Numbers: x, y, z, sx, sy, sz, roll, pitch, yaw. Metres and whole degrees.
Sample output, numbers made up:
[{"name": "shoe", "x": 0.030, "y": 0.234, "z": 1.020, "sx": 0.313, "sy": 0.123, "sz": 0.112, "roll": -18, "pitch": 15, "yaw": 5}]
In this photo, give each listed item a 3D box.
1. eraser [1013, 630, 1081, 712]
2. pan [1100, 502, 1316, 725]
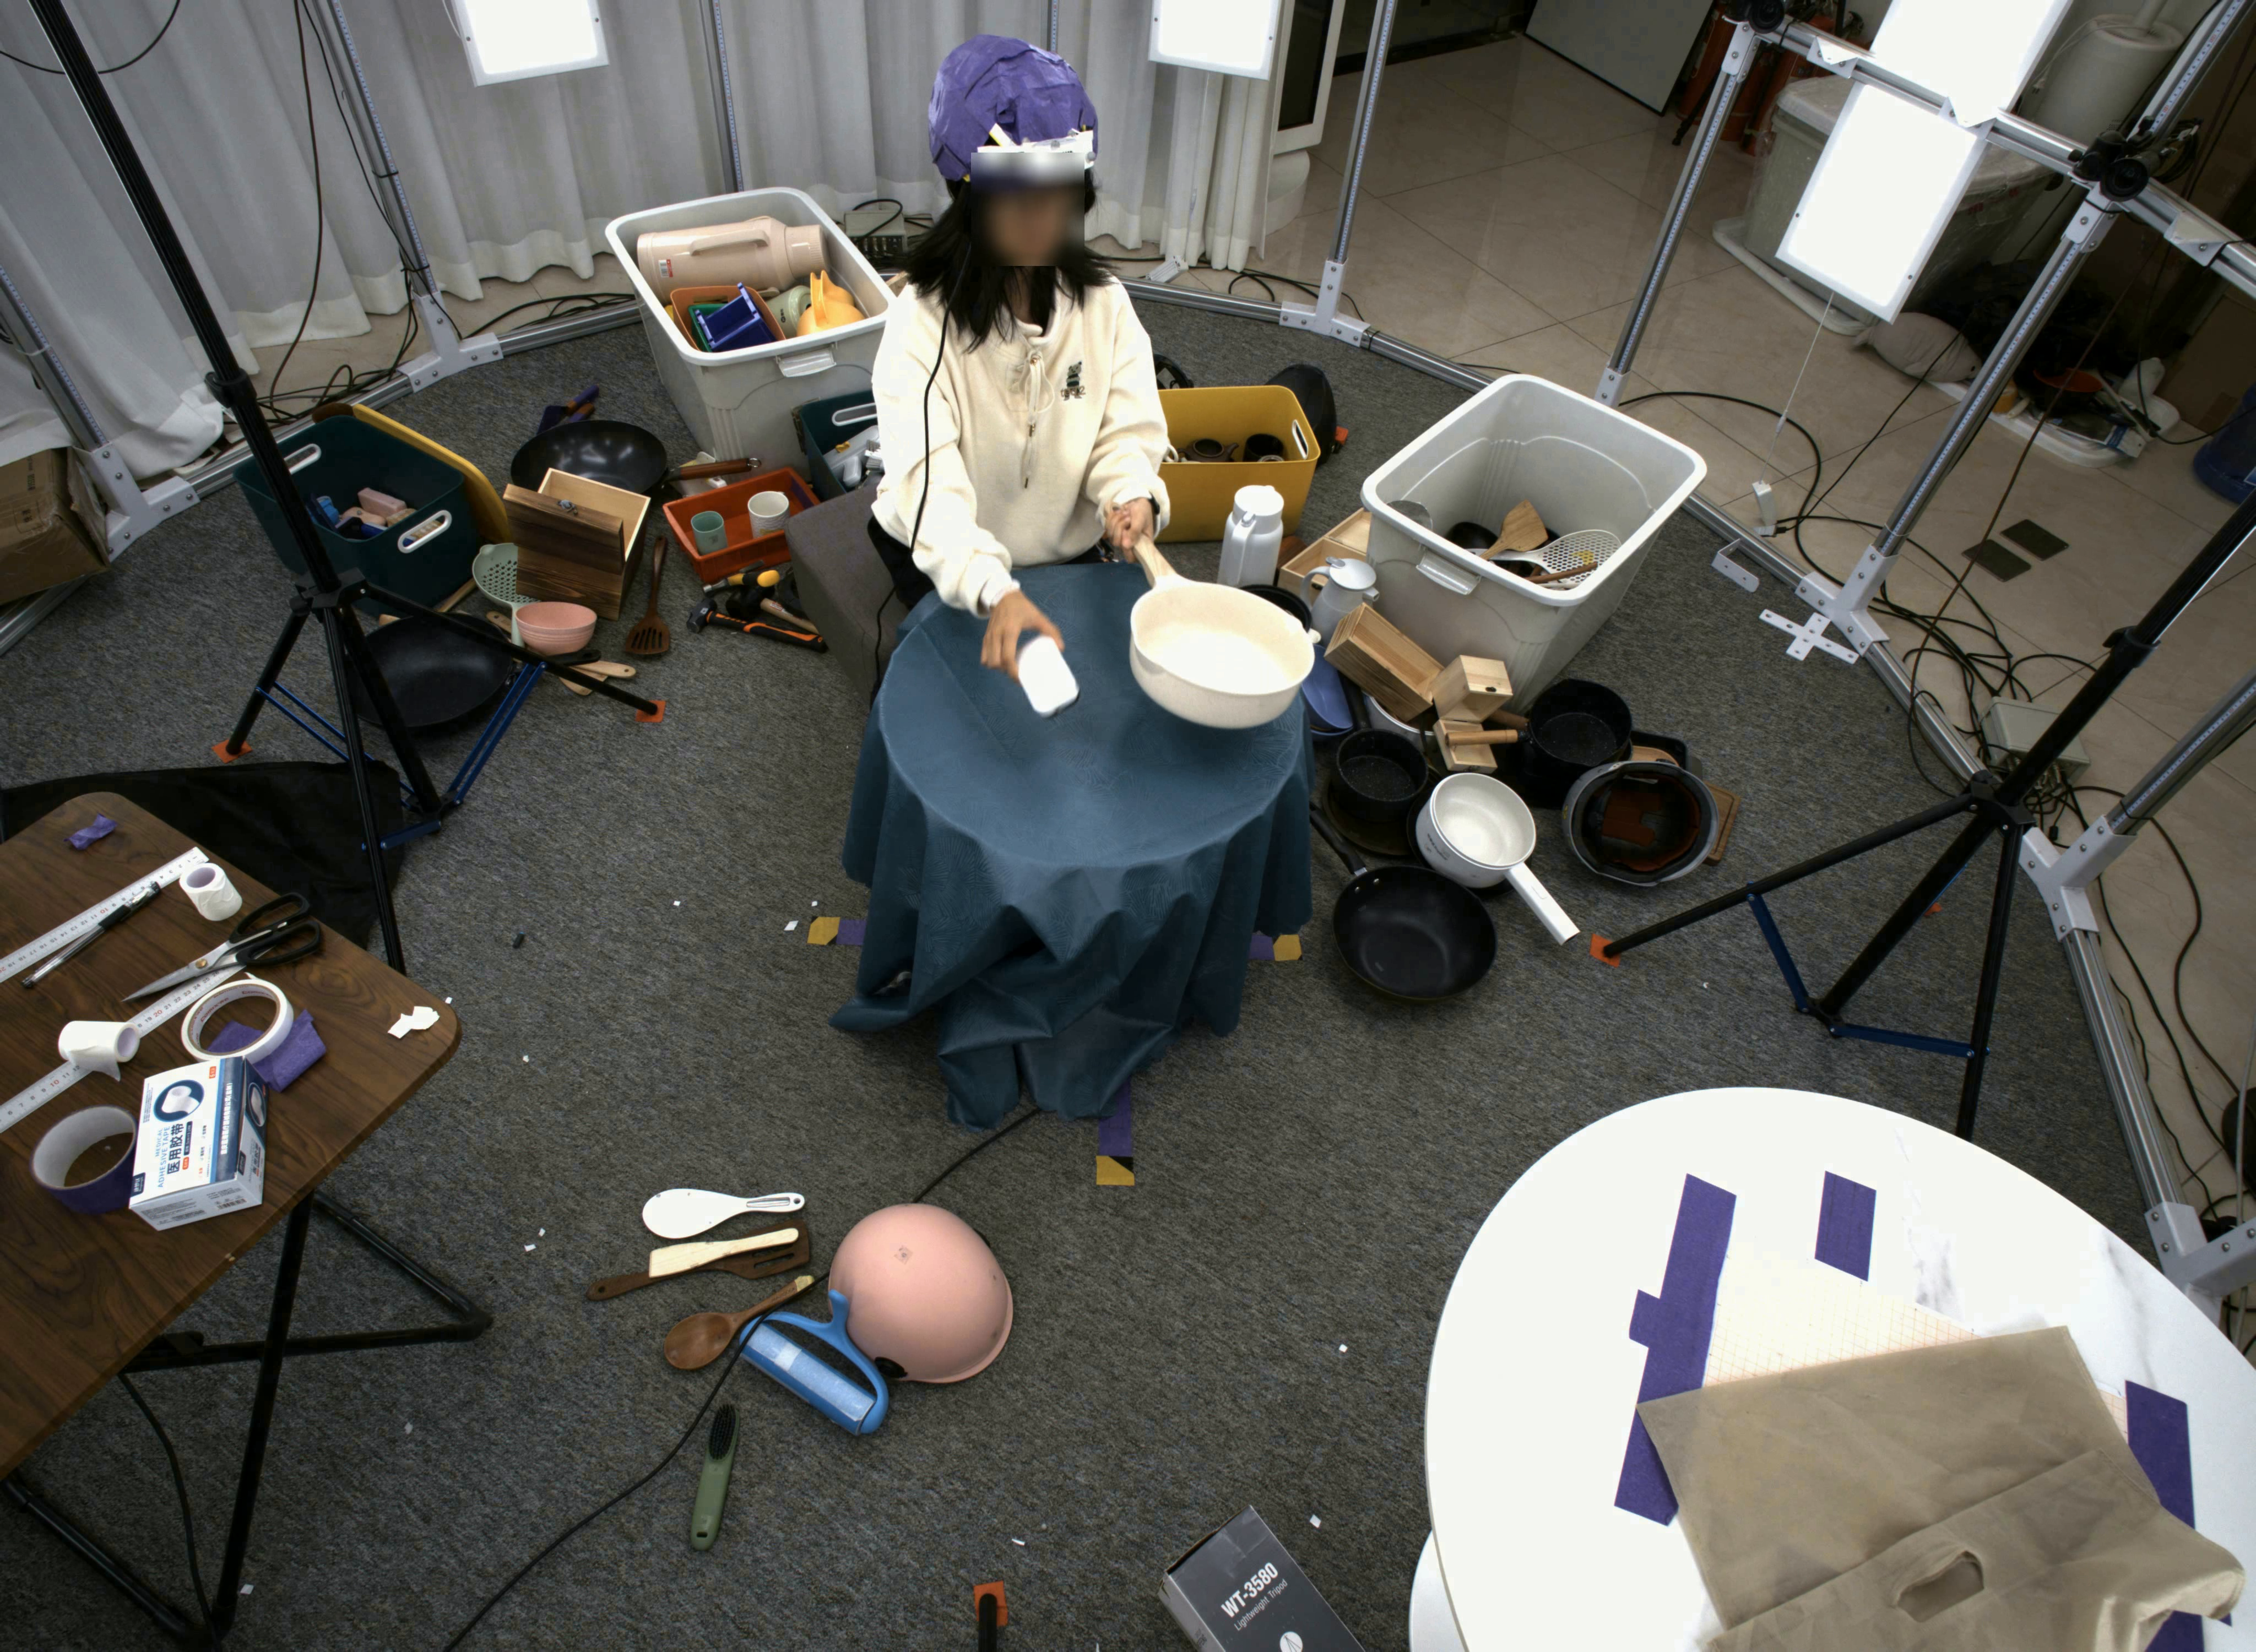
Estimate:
[{"name": "eraser", "x": -0.106, "y": -0.207, "z": 1.691, "sx": 0.063, "sy": 0.034, "sz": 0.134, "roll": -31, "pitch": 47, "yaw": 4}, {"name": "pan", "x": 0.076, "y": -0.296, "z": 1.785, "sx": 0.264, "sy": 0.099, "sz": 0.444, "roll": -15, "pitch": 49, "yaw": -29}]
